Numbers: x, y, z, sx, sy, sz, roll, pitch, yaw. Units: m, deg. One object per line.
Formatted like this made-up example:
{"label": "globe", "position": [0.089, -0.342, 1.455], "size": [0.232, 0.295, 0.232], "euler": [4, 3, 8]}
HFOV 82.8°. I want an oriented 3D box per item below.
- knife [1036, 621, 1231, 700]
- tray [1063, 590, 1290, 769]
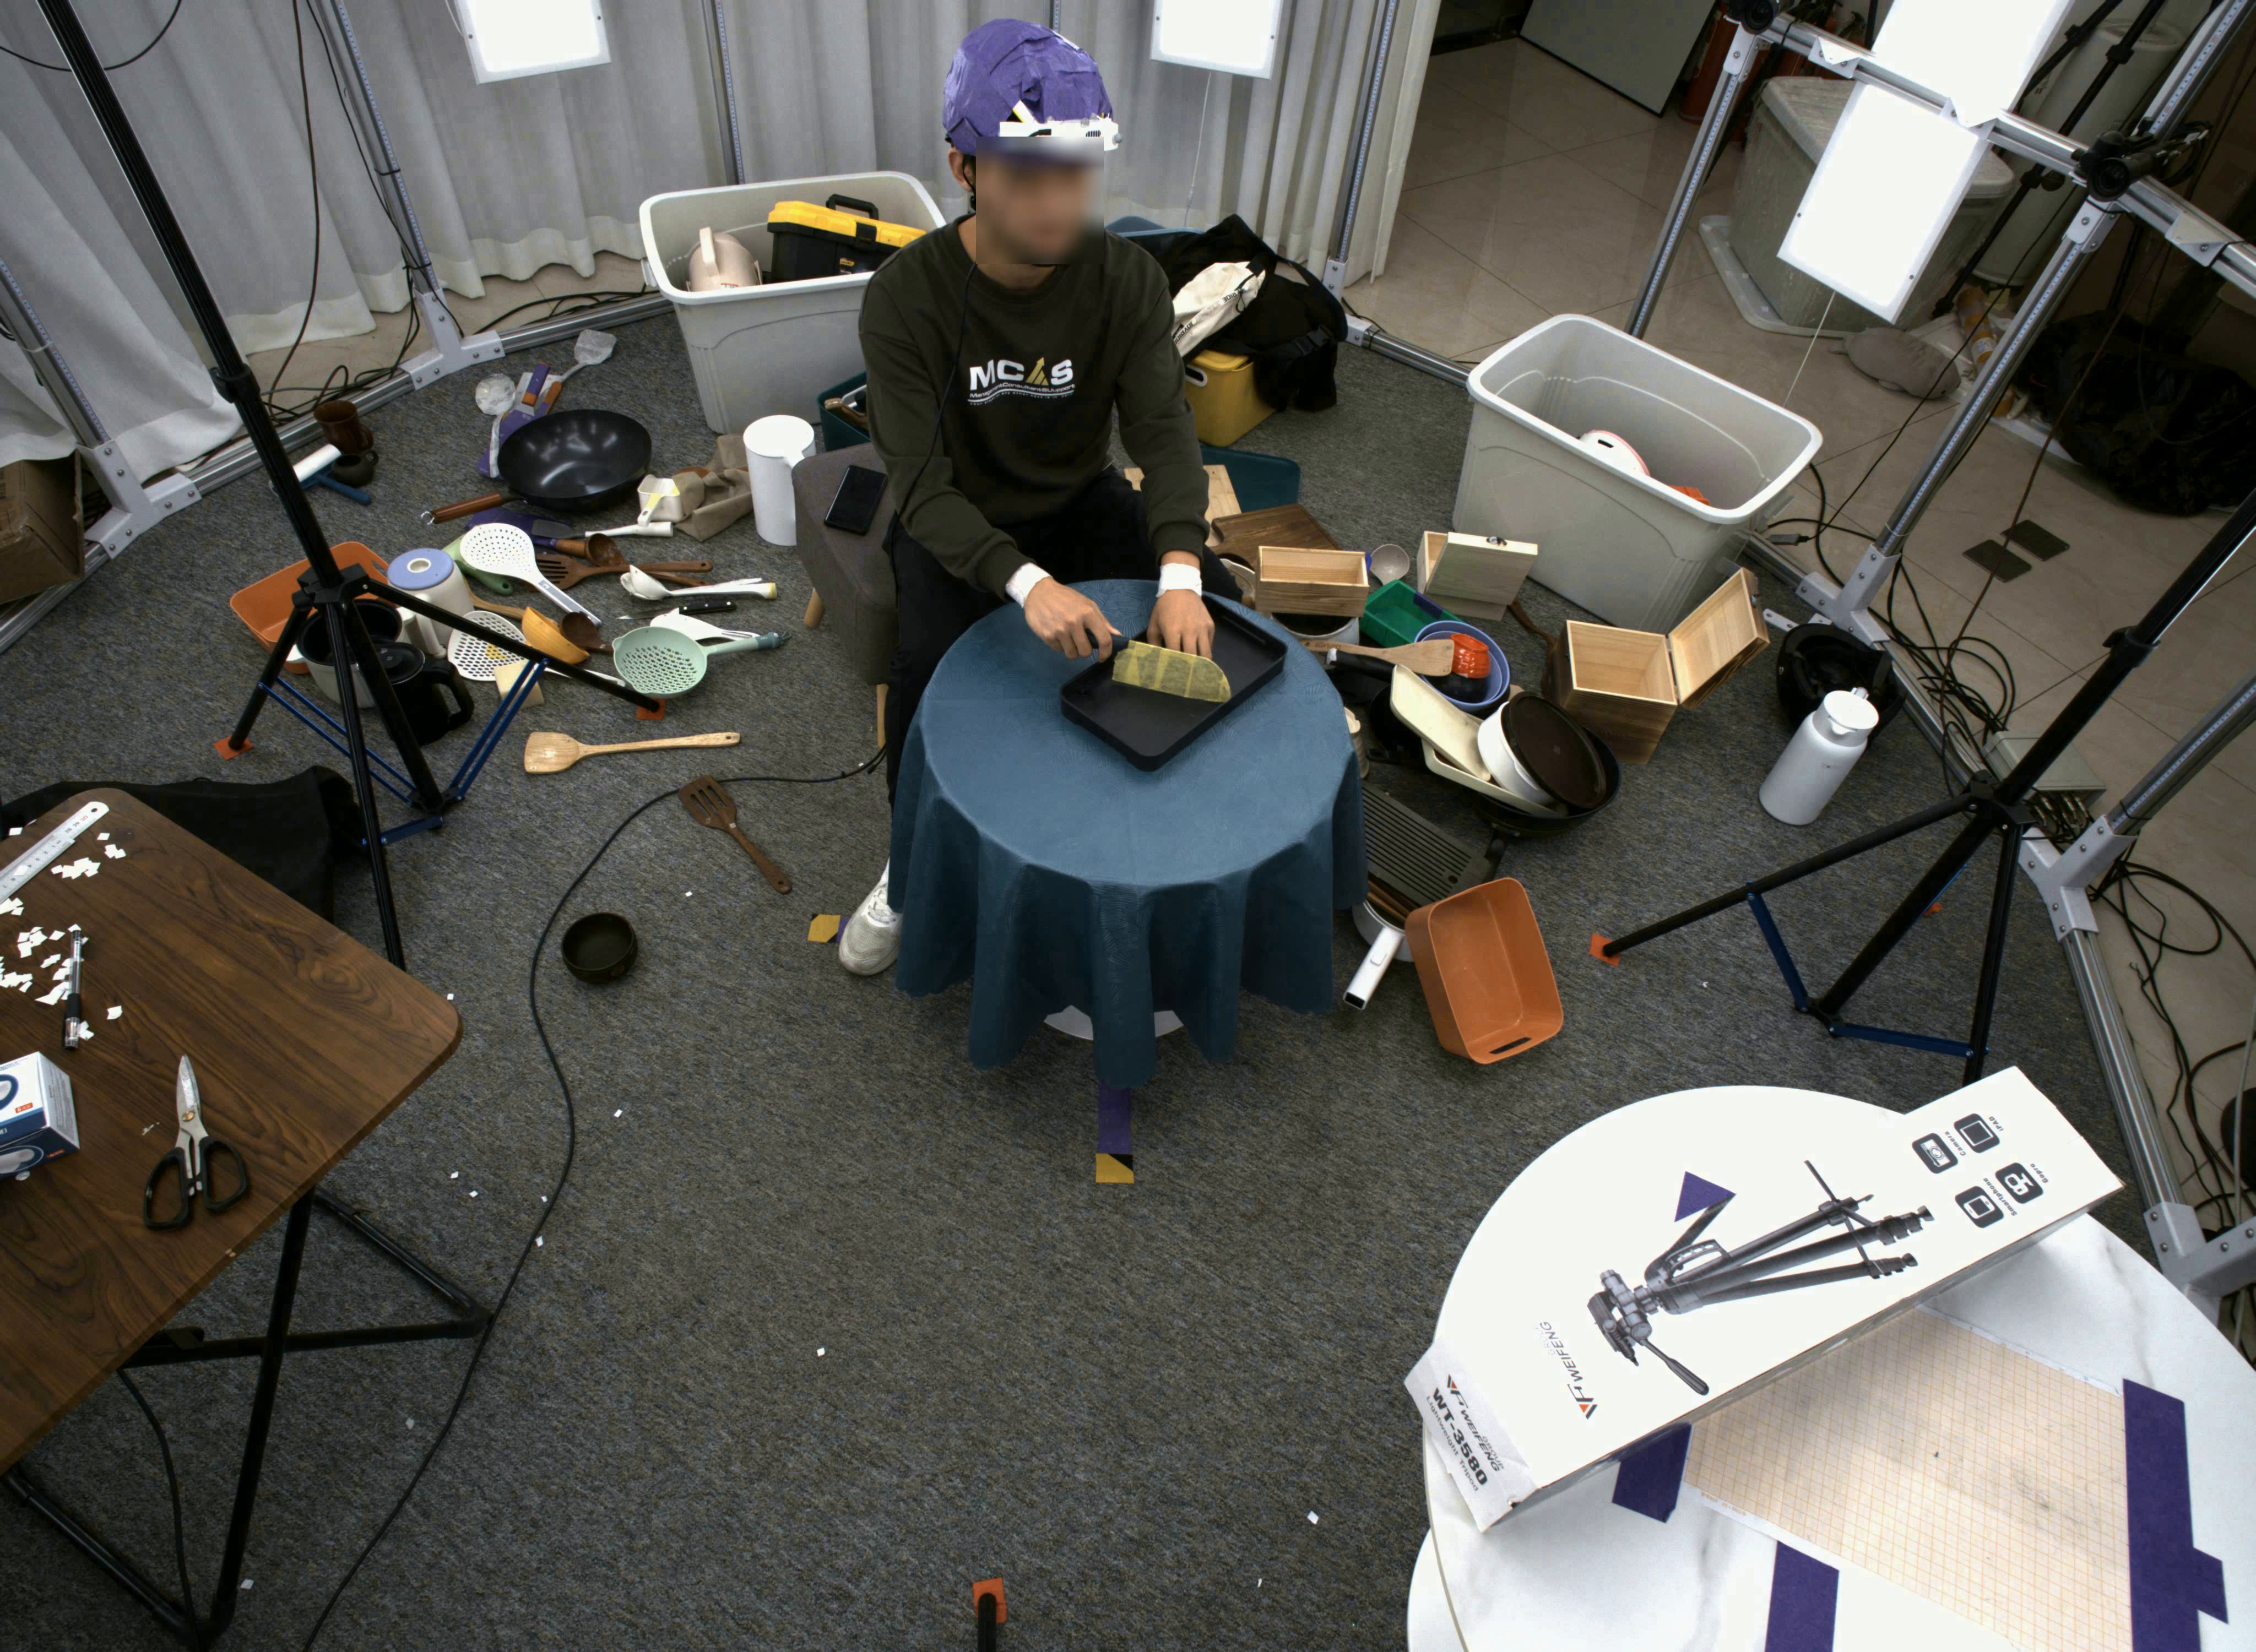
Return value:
{"label": "knife", "position": [0.008, -0.234, 1.811], "size": [0.290, 0.079, 0.028], "euler": [17, 37, 4]}
{"label": "tray", "position": [0.072, -0.215, 1.834], "size": [0.187, 0.036, 0.321], "euler": [34, 55, 23]}
